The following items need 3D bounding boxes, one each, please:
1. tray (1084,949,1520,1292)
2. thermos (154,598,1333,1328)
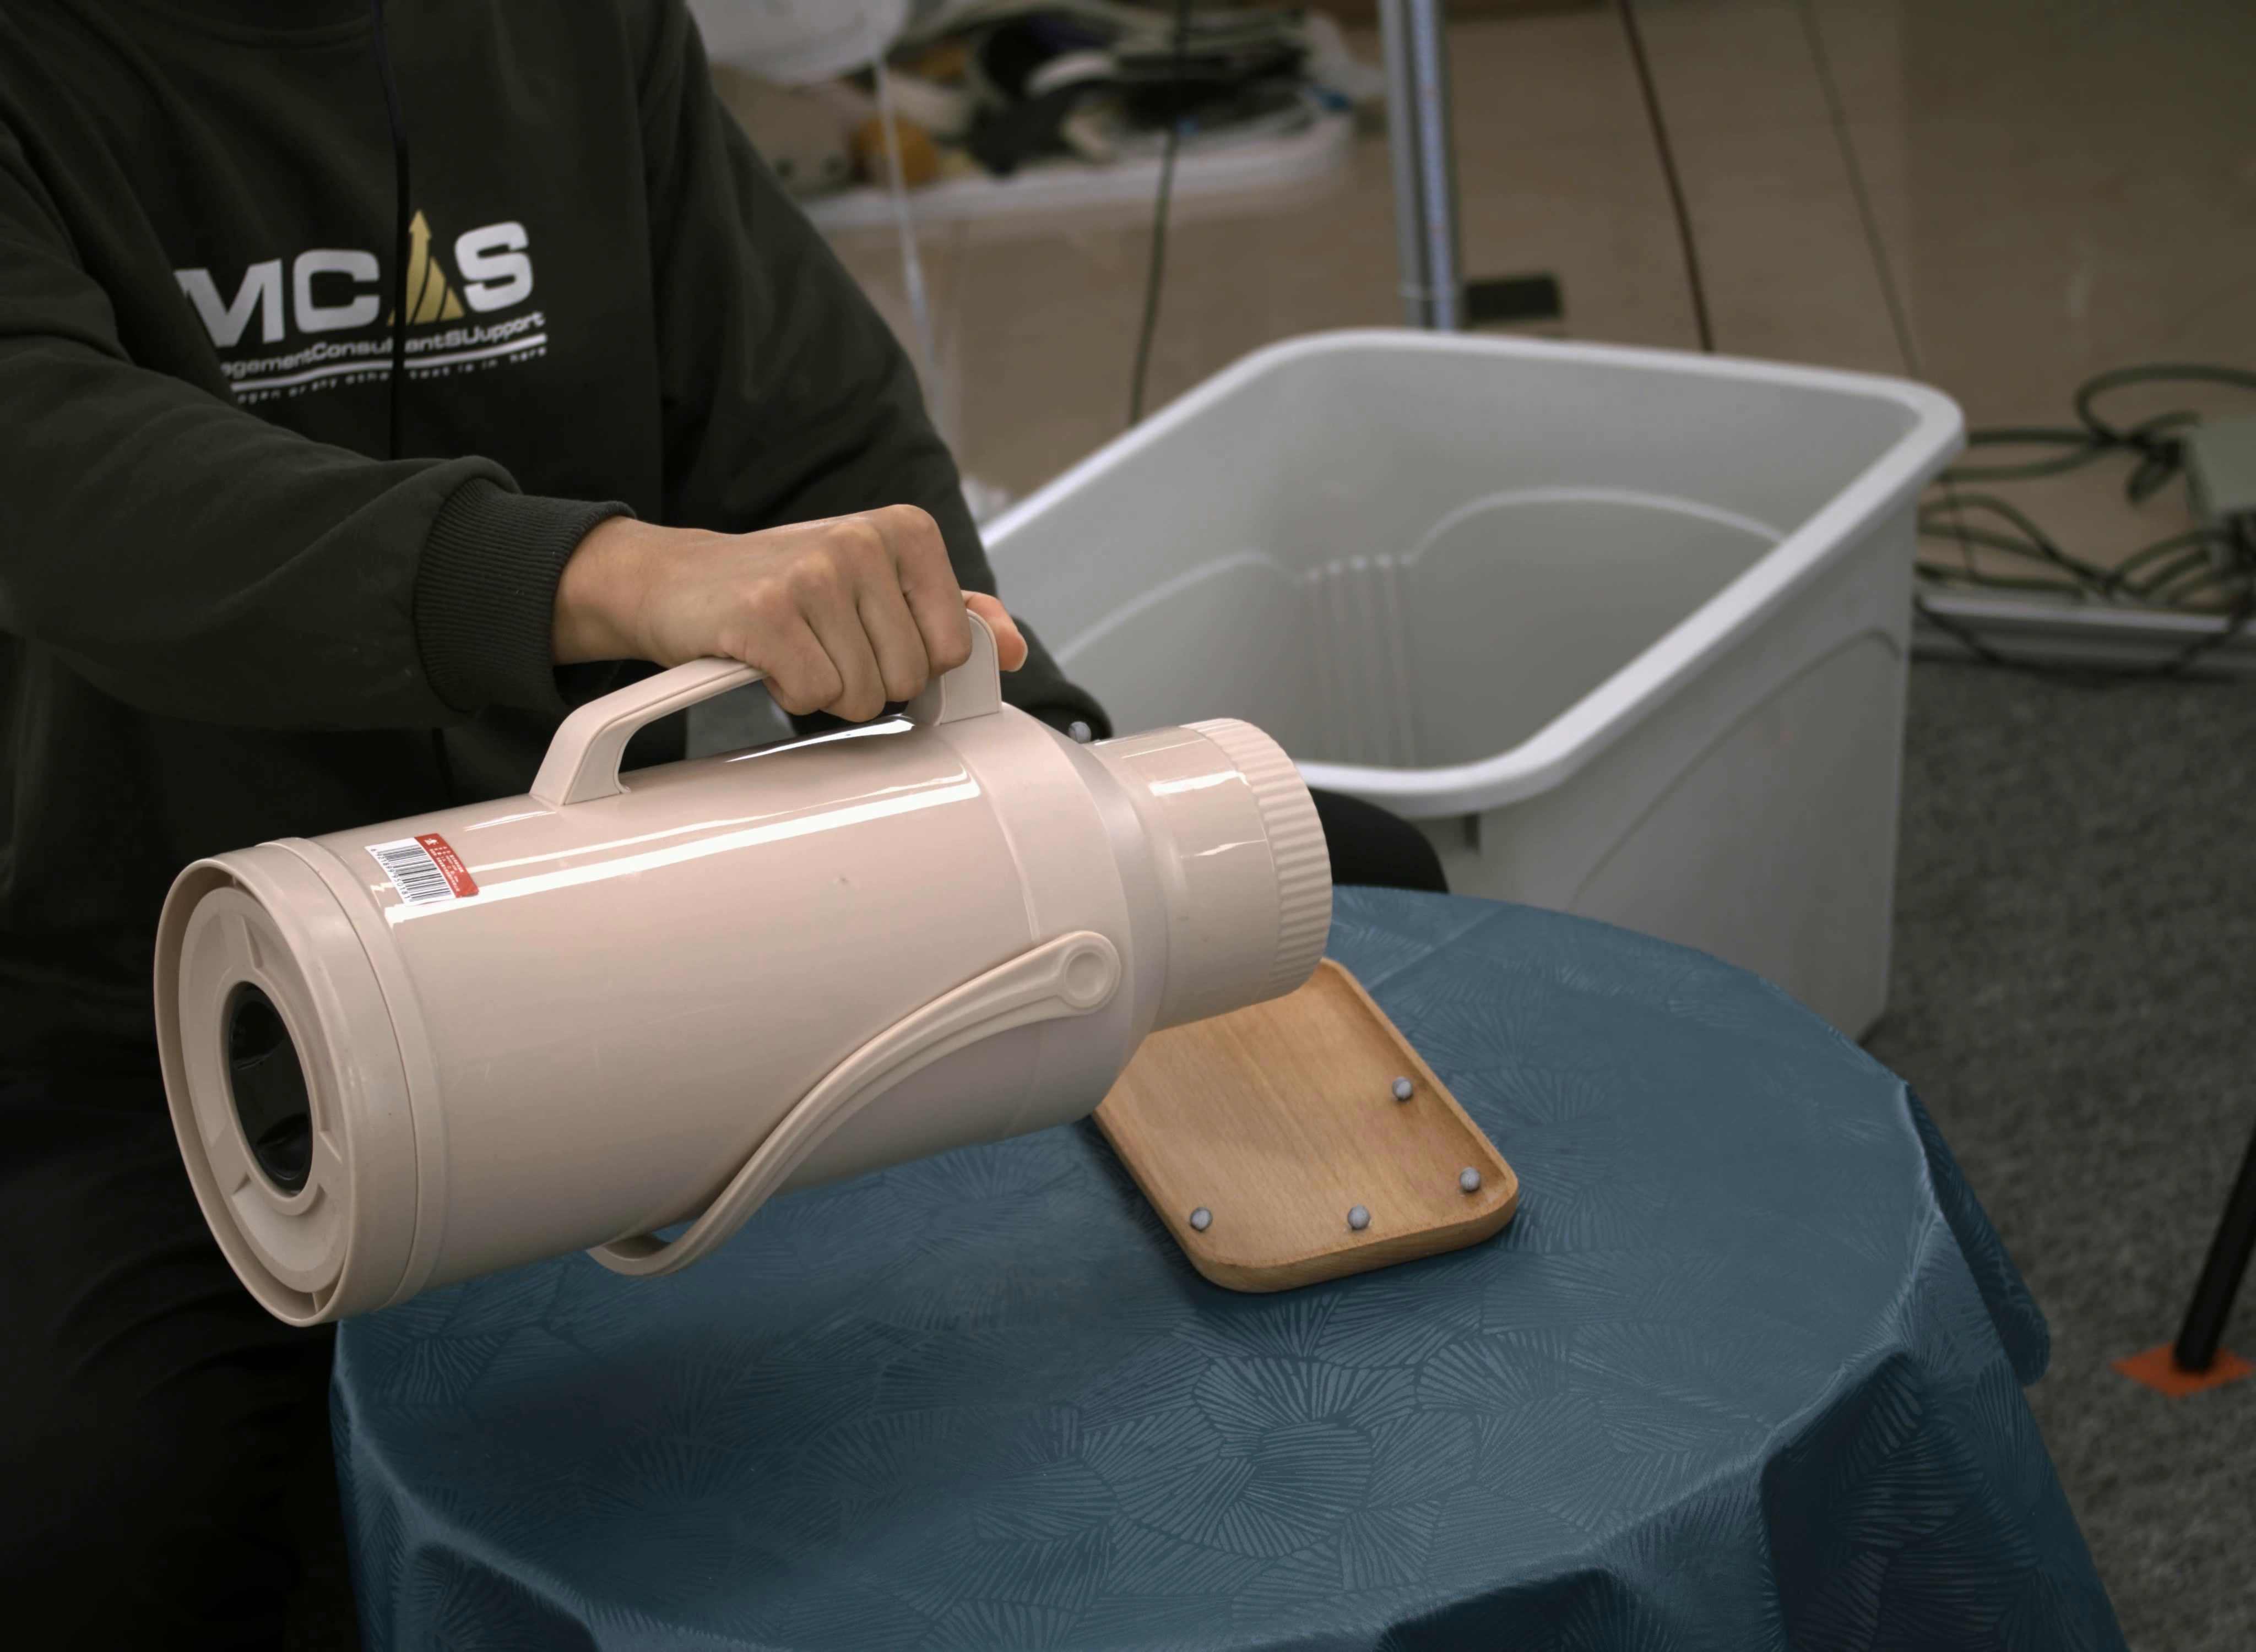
[{"bbox_3d":[0.057,0.111,2.175,0.130,0.023,0.247,-10,24,-13],"label":"tray"},{"bbox_3d":[-0.125,0.036,1.967,0.404,0.209,0.174,-13,19,-28],"label":"thermos"}]
